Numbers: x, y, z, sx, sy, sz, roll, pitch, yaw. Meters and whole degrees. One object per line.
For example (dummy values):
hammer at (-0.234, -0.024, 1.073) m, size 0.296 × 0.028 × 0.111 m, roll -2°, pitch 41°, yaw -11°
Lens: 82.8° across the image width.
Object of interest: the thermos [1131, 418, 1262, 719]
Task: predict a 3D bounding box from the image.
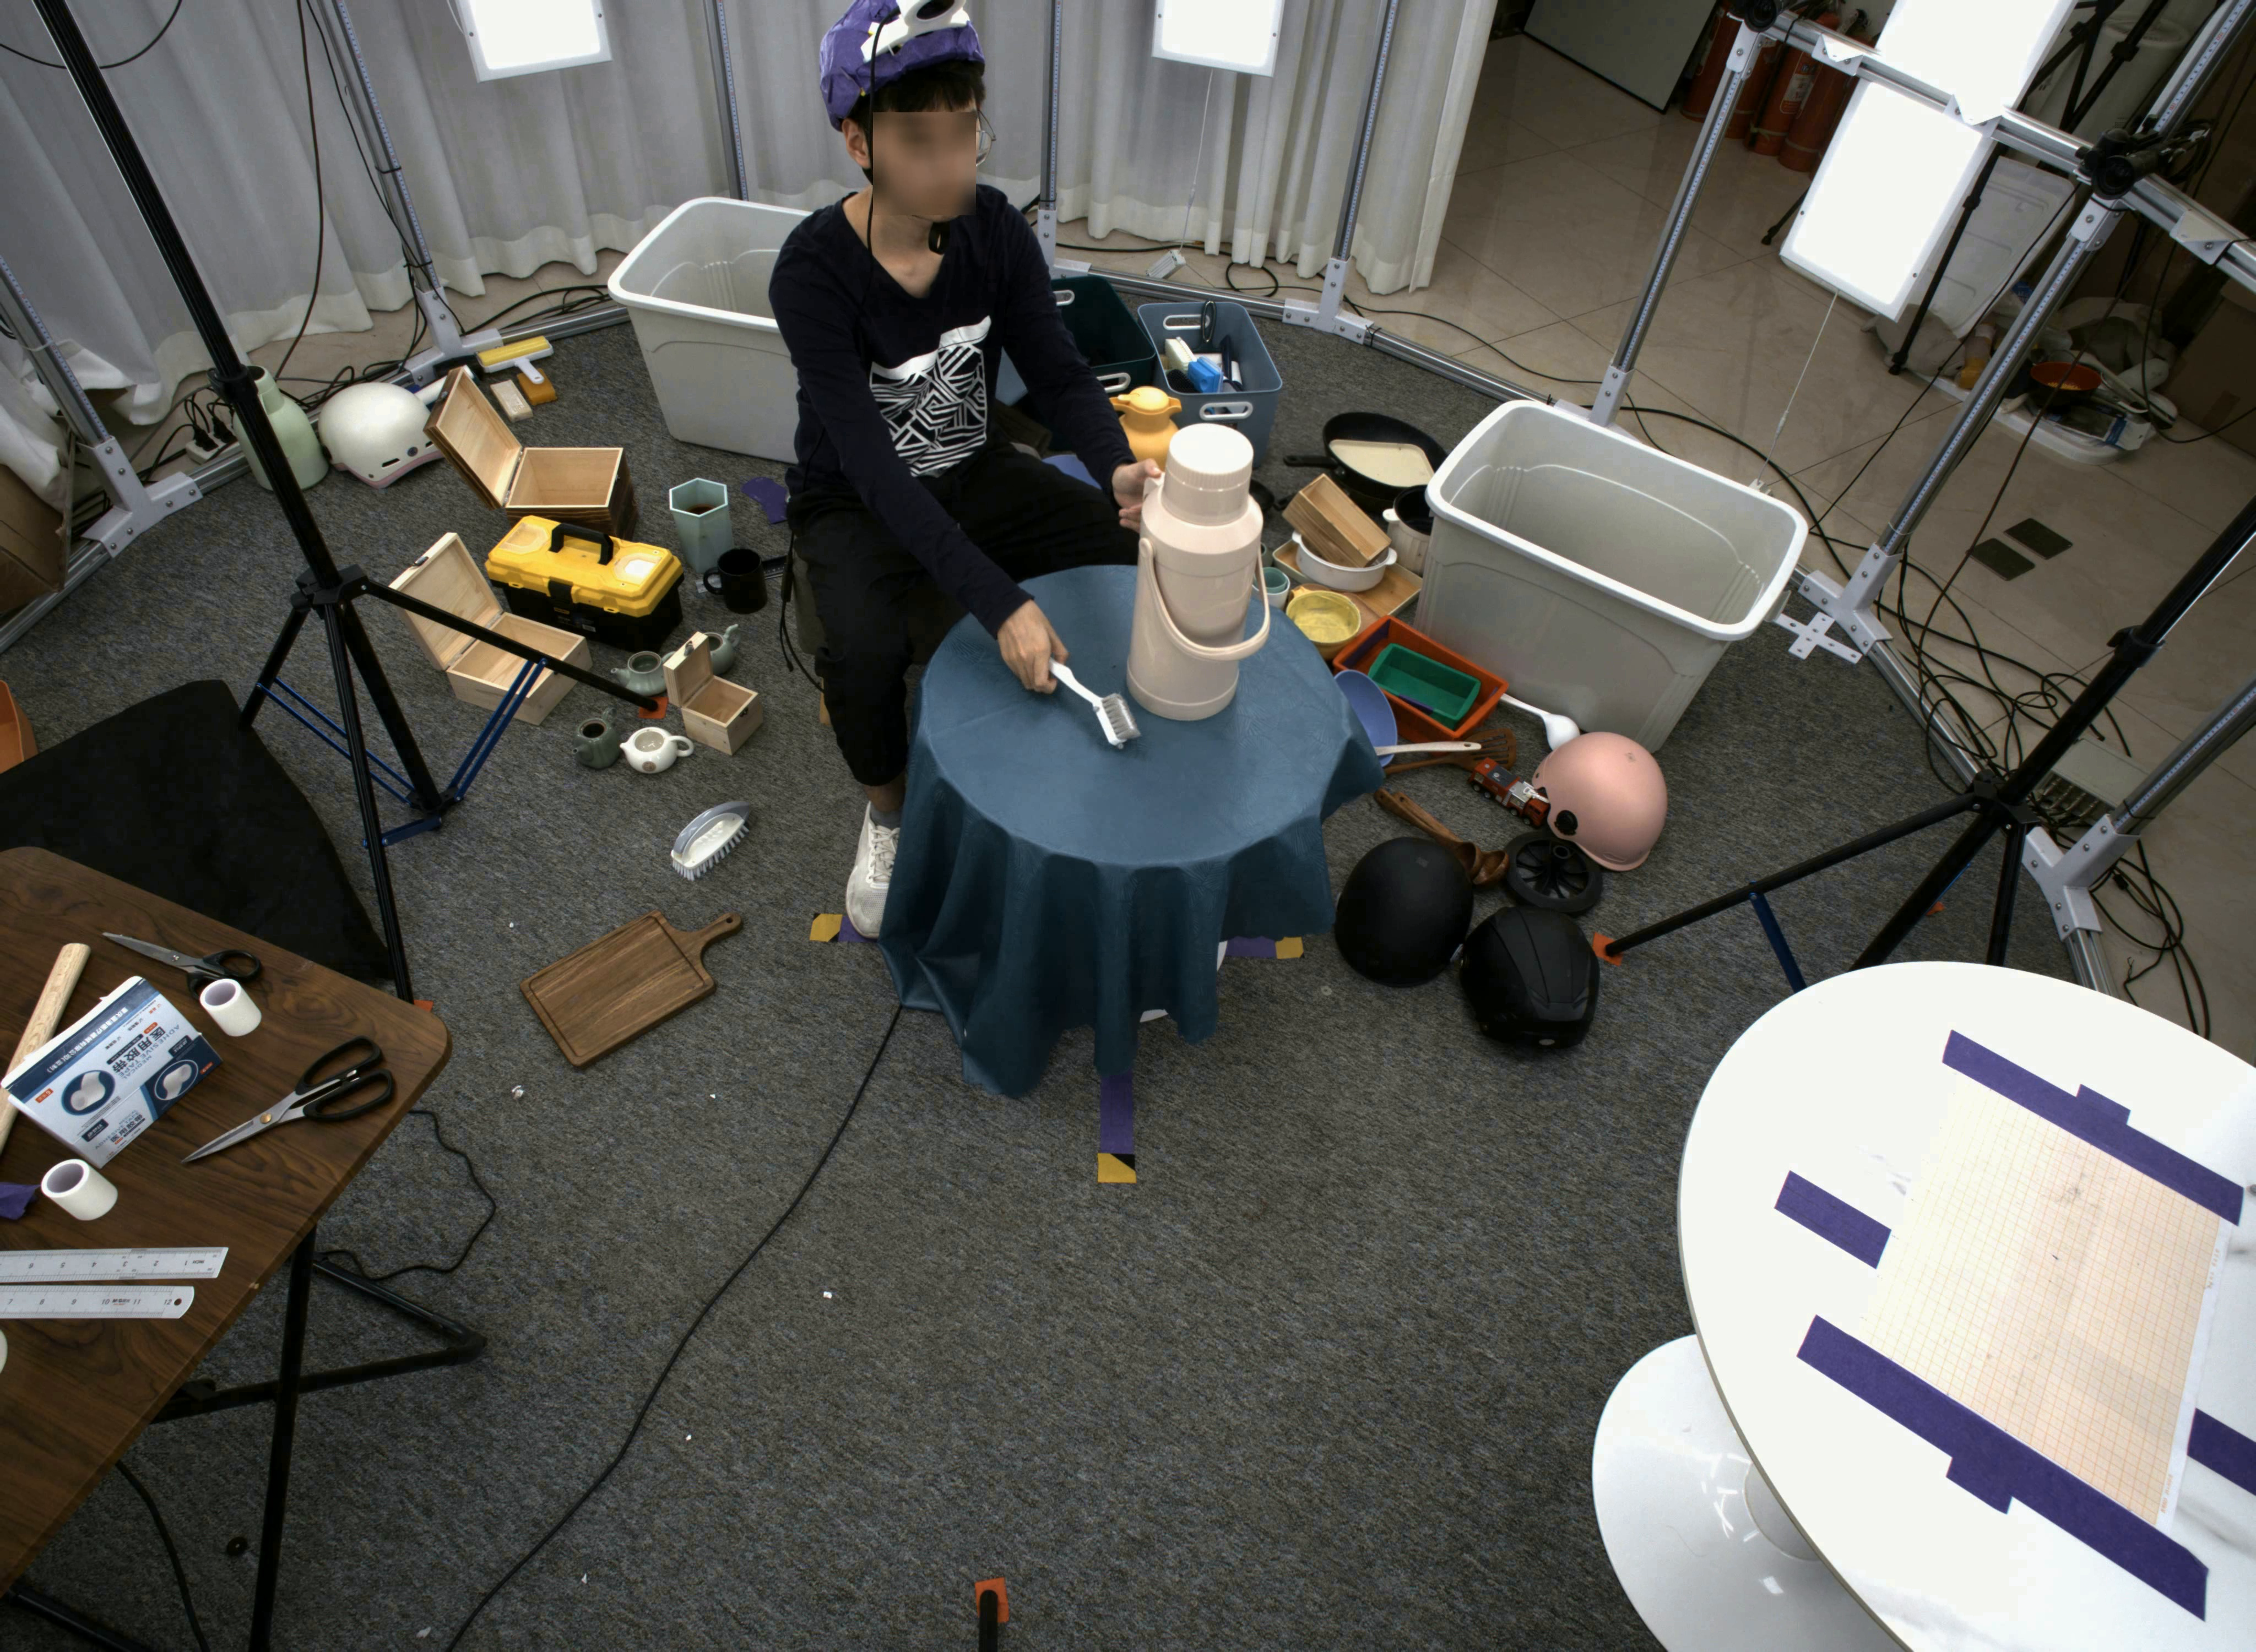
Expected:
thermos at (0.083, -0.346, 1.718) m, size 0.176 × 0.396 × 0.211 m, roll -25°, pitch 55°, yaw -22°

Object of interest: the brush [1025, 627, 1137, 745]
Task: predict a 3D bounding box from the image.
brush at (-0.066, -0.208, 1.787) m, size 0.034 × 0.049 × 0.248 m, roll -4°, pitch 50°, yaw -49°
